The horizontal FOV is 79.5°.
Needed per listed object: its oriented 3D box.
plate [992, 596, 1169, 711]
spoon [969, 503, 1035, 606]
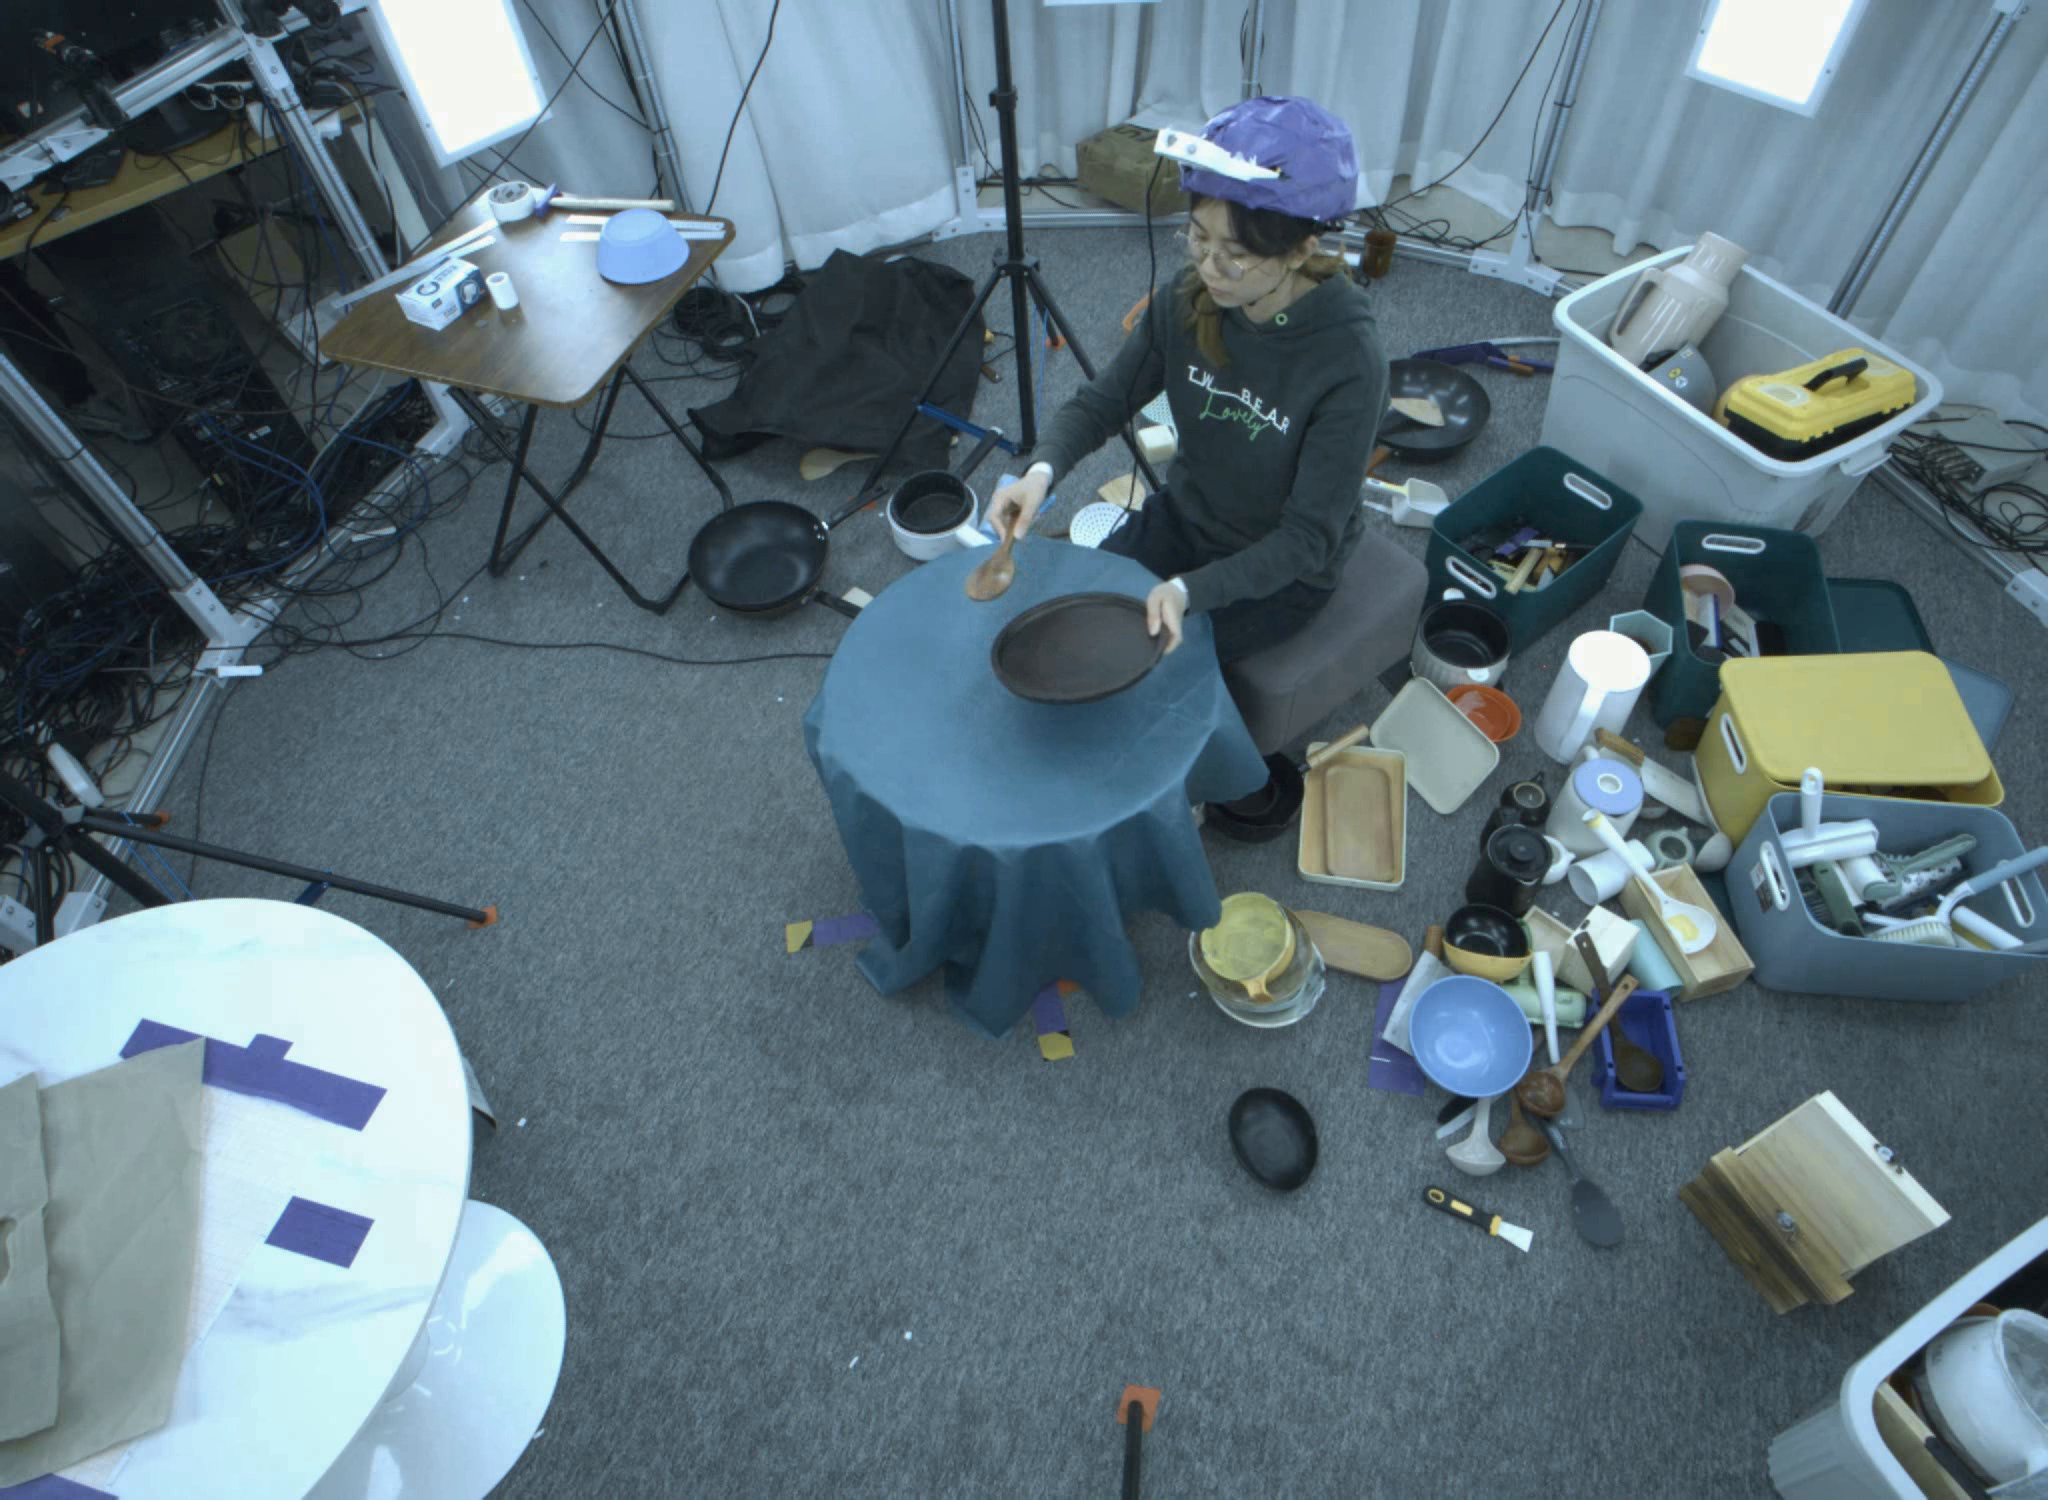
[{"bbox_3d":[0.080,-0.140,1.748,0.254,0.029,0.252,-6,43,7],"label":"plate"},{"bbox_3d":[-0.024,-0.285,1.791,0.074,0.017,0.215,0,52,26],"label":"spoon"}]
